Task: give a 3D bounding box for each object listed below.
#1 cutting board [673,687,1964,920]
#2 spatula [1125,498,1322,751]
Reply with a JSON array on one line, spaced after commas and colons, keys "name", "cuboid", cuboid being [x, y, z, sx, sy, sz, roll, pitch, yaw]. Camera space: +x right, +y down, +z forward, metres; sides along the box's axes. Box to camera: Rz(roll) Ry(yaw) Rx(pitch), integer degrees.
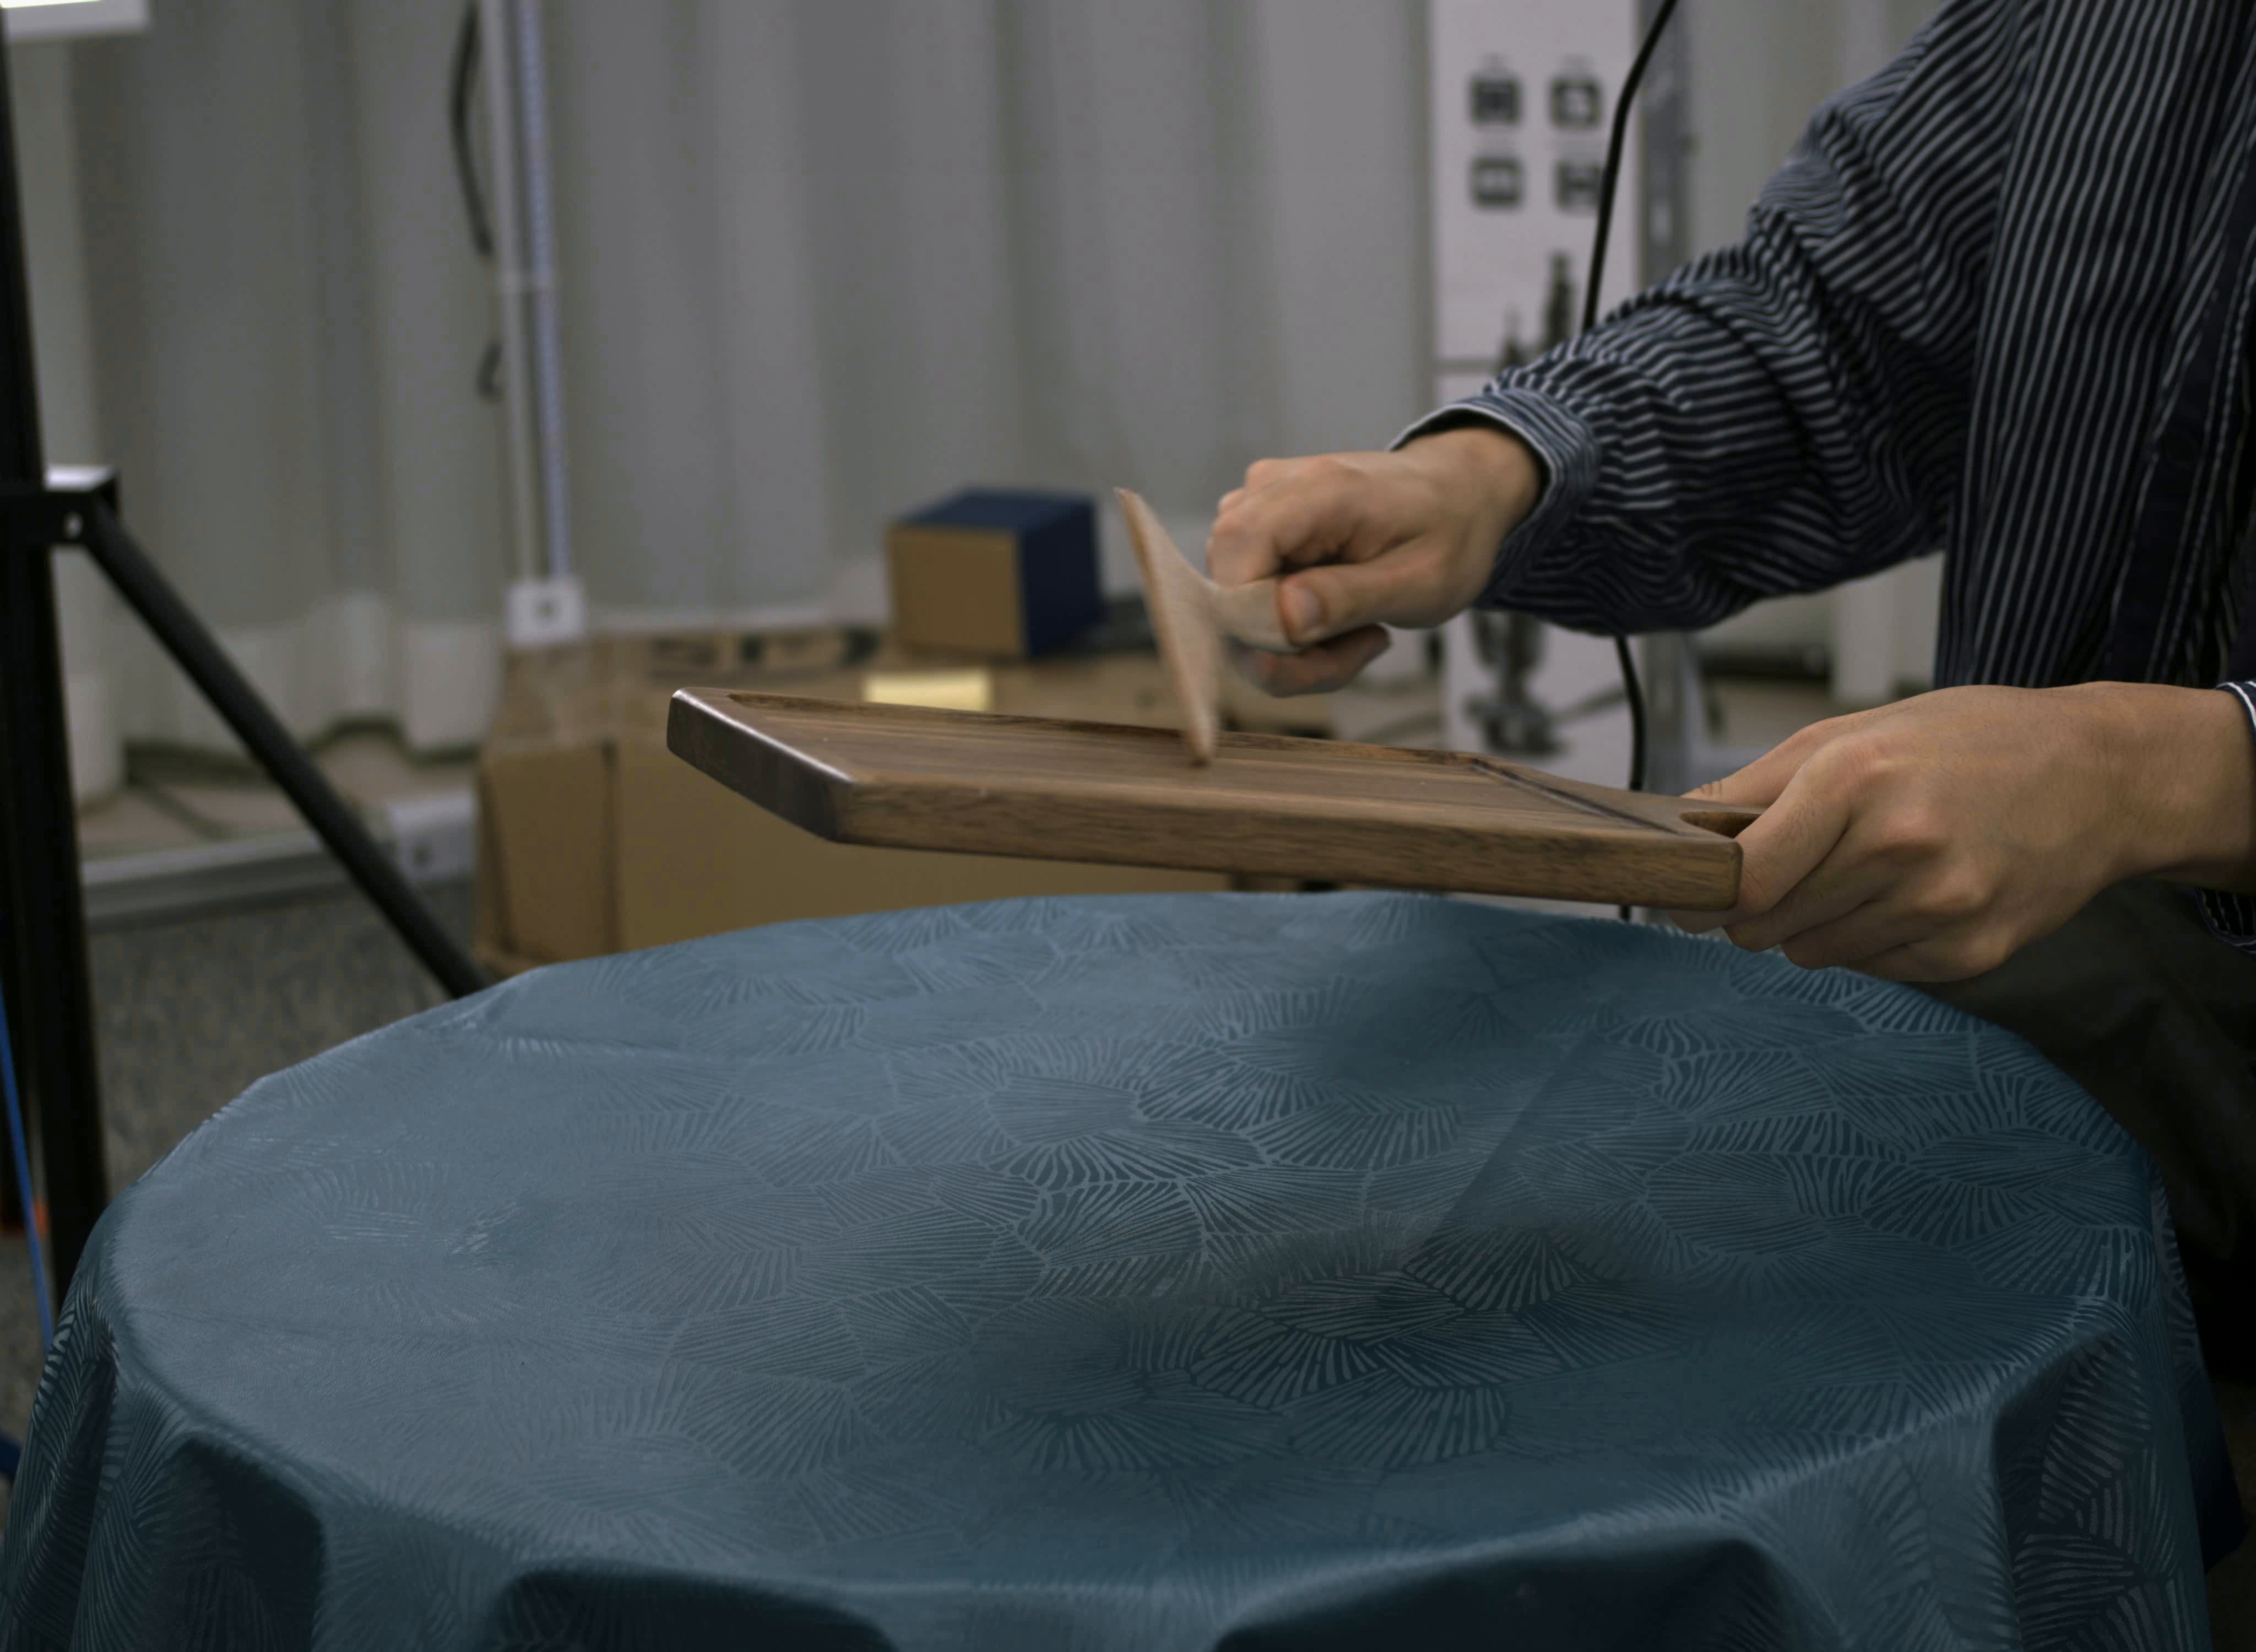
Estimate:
[{"name": "cutting board", "cuboid": [0.065, -0.003, 1.437, 0.346, 0.023, 0.203, 5, 6, -15]}, {"name": "spatula", "cuboid": [0.034, -0.061, 1.613, 0.016, 0.080, 0.324, -13, 1, 12]}]
